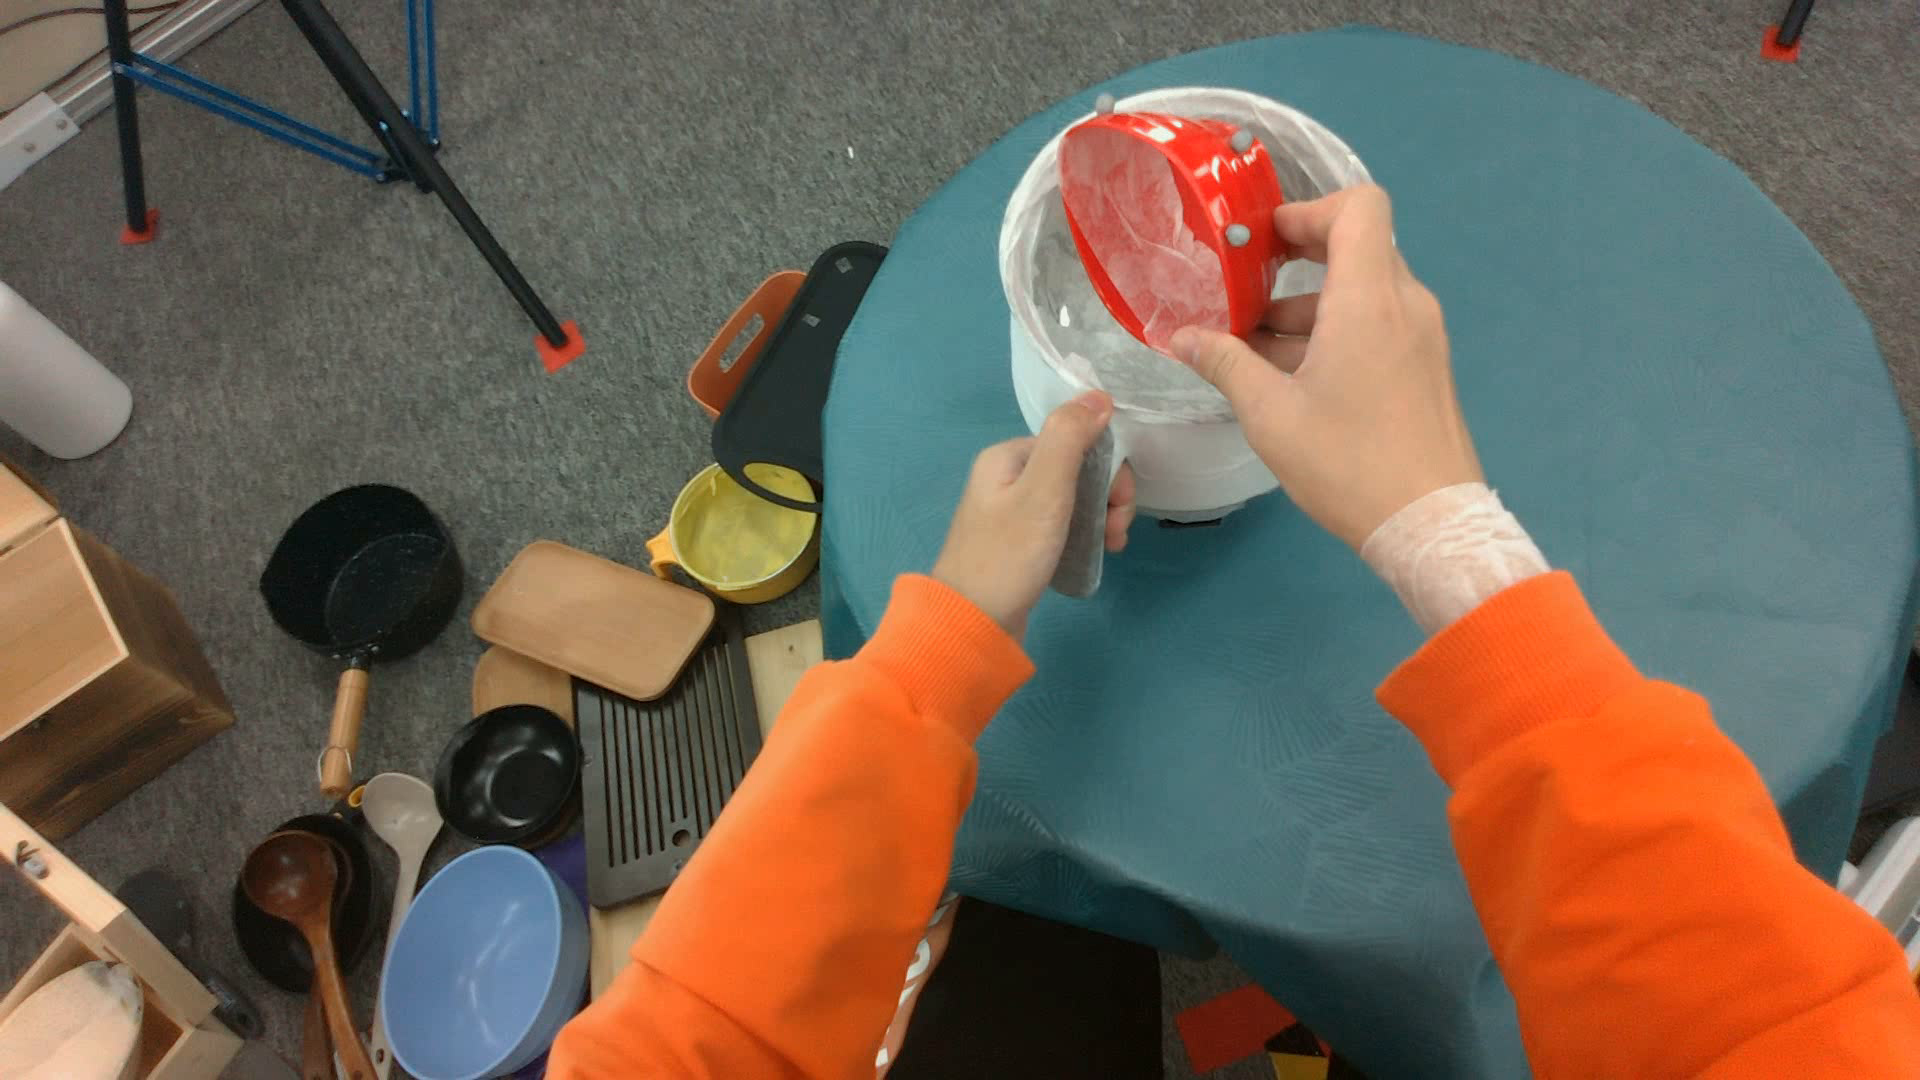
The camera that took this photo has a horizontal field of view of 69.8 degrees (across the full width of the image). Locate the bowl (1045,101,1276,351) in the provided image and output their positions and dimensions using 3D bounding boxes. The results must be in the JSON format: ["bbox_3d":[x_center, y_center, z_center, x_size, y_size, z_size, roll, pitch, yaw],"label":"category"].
[{"bbox_3d":[0.092,-0.142,0.591,0.051,0.118,0.119,-34,63,-17],"label":"bowl"}]

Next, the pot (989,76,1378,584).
[{"bbox_3d":[0.094,-0.094,0.678,0.178,0.136,0.234,23,72,14],"label":"pot"}]
